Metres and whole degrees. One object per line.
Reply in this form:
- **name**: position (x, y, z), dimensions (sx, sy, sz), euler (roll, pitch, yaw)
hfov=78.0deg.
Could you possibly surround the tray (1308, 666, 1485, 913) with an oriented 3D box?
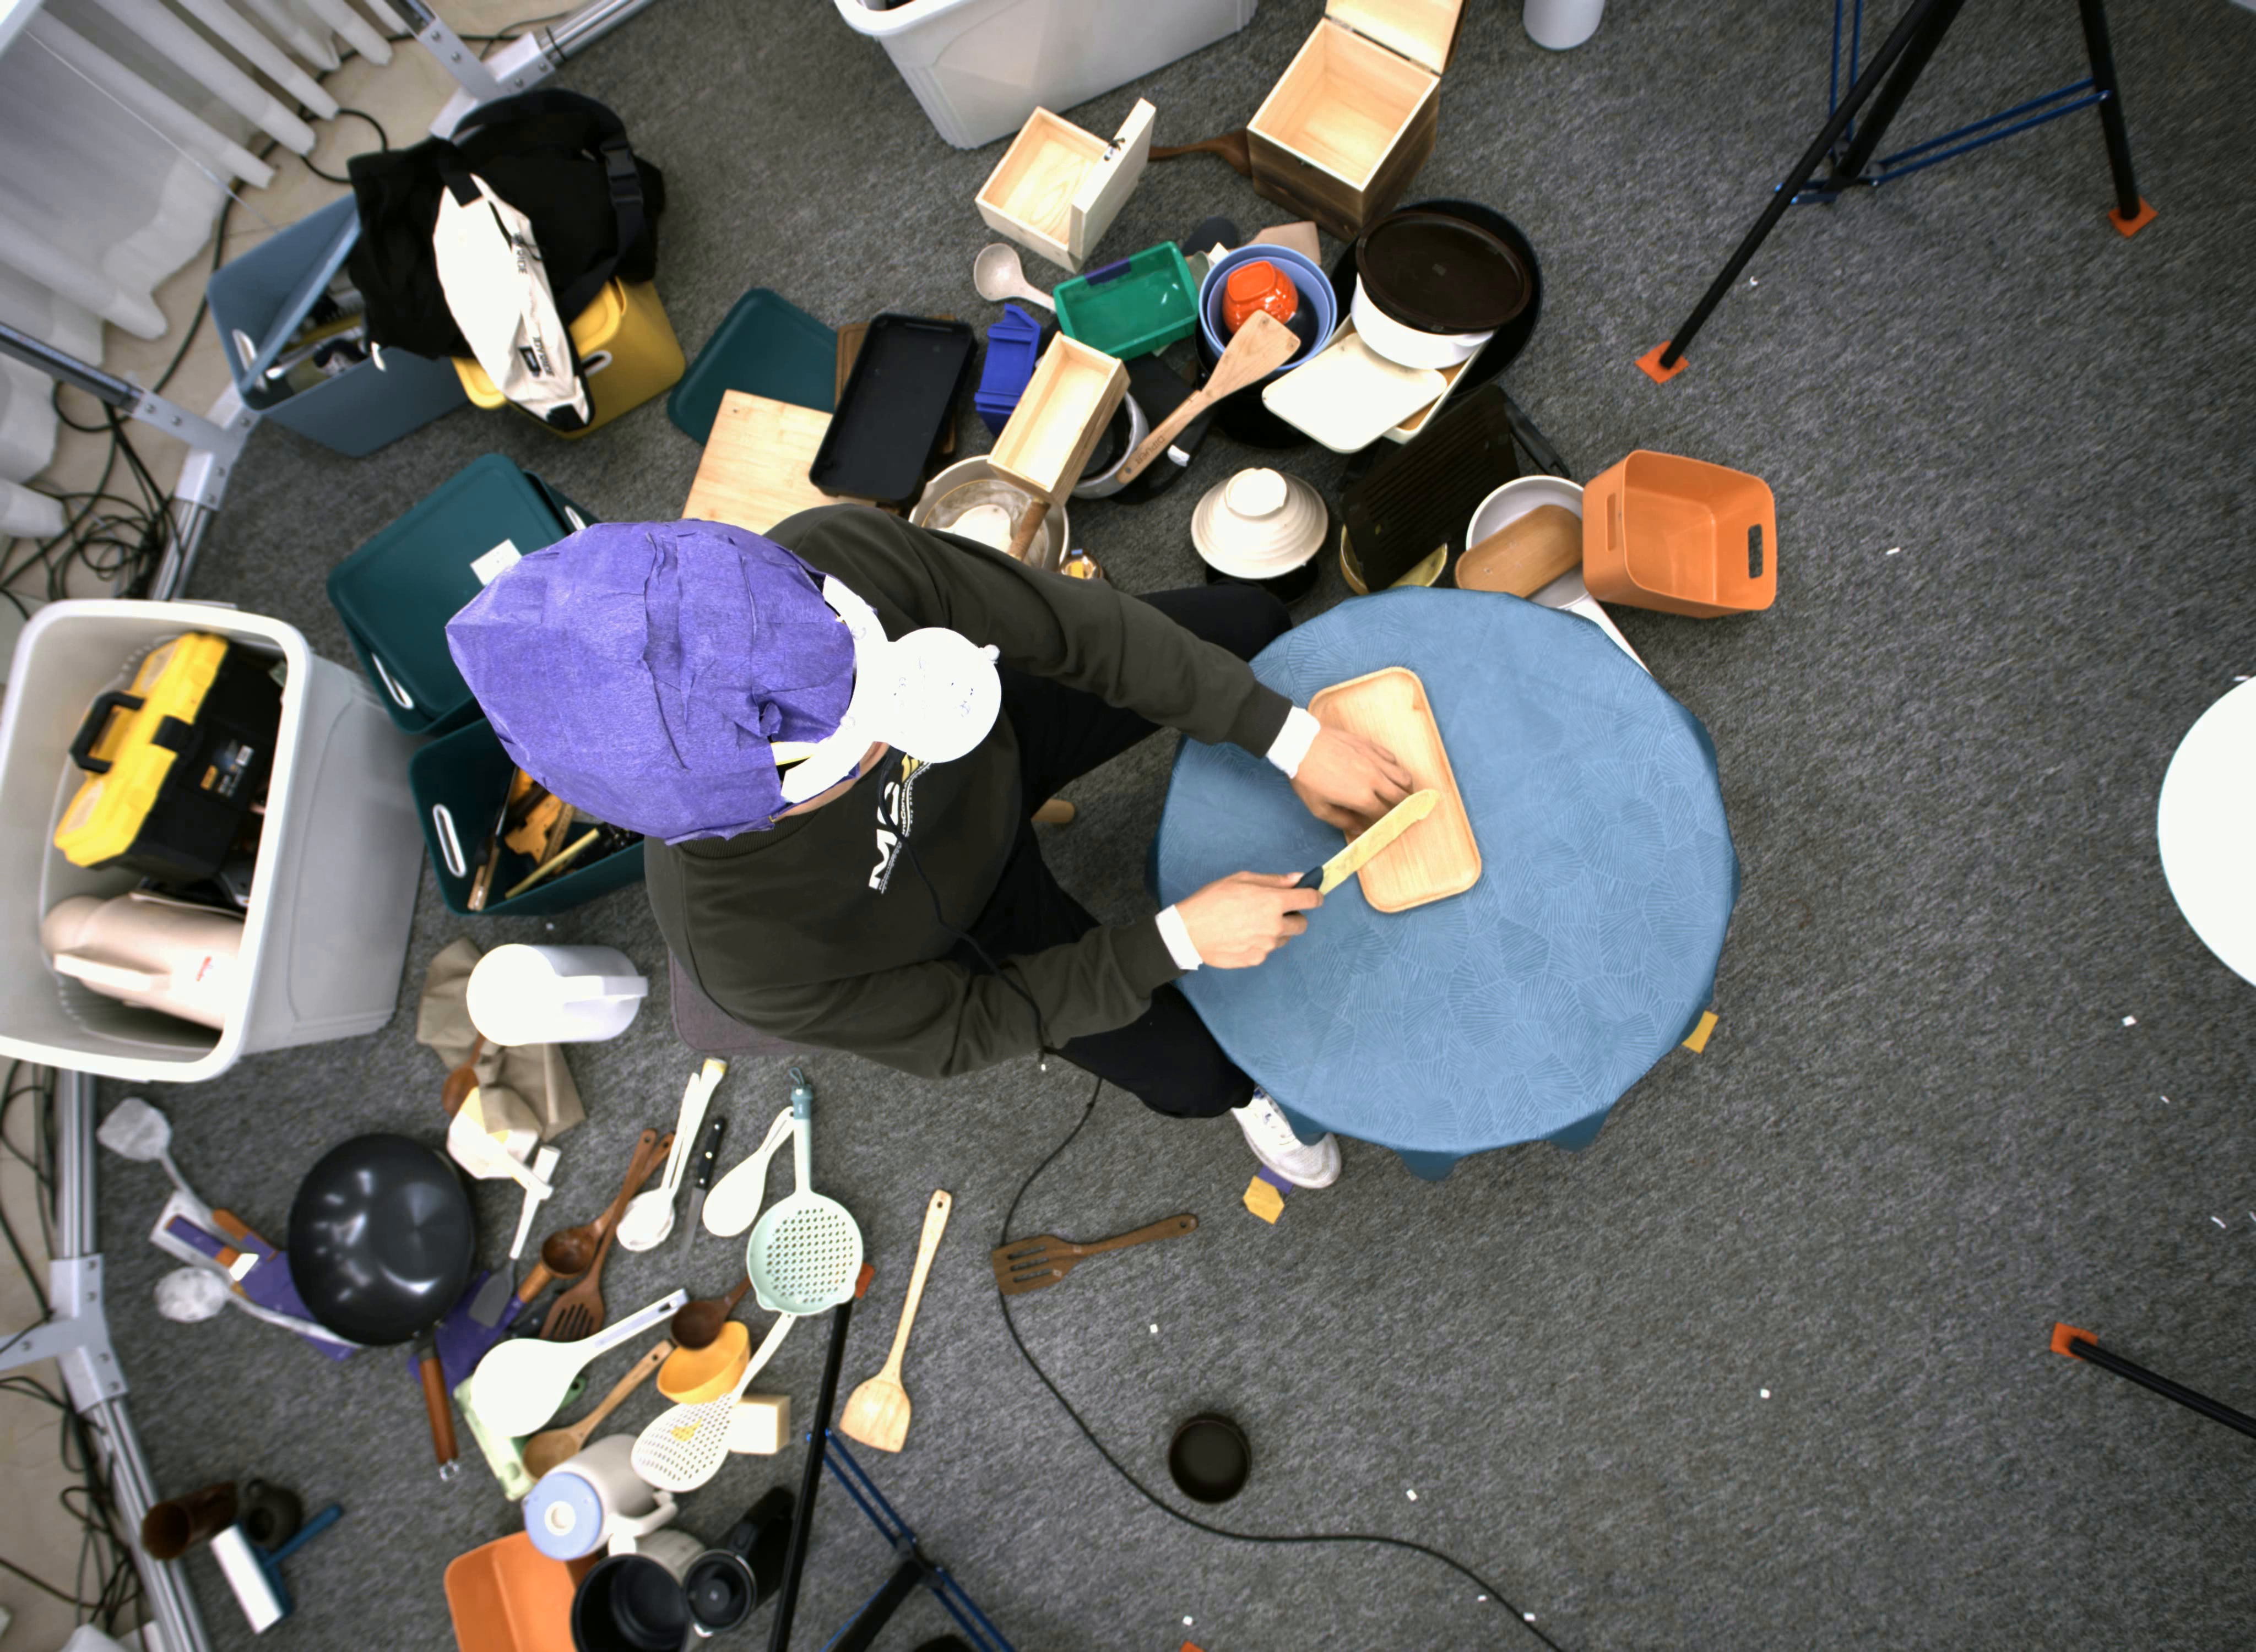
- **tray**: position (0.284, -0.040, 1.460), dimensions (0.131, 0.023, 0.250), euler (-18, 87, 12)

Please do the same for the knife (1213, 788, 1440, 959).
- **knife**: position (0.205, 0.046, 1.398), dimensions (0.288, 0.082, 0.027), euler (-35, 63, -6)
